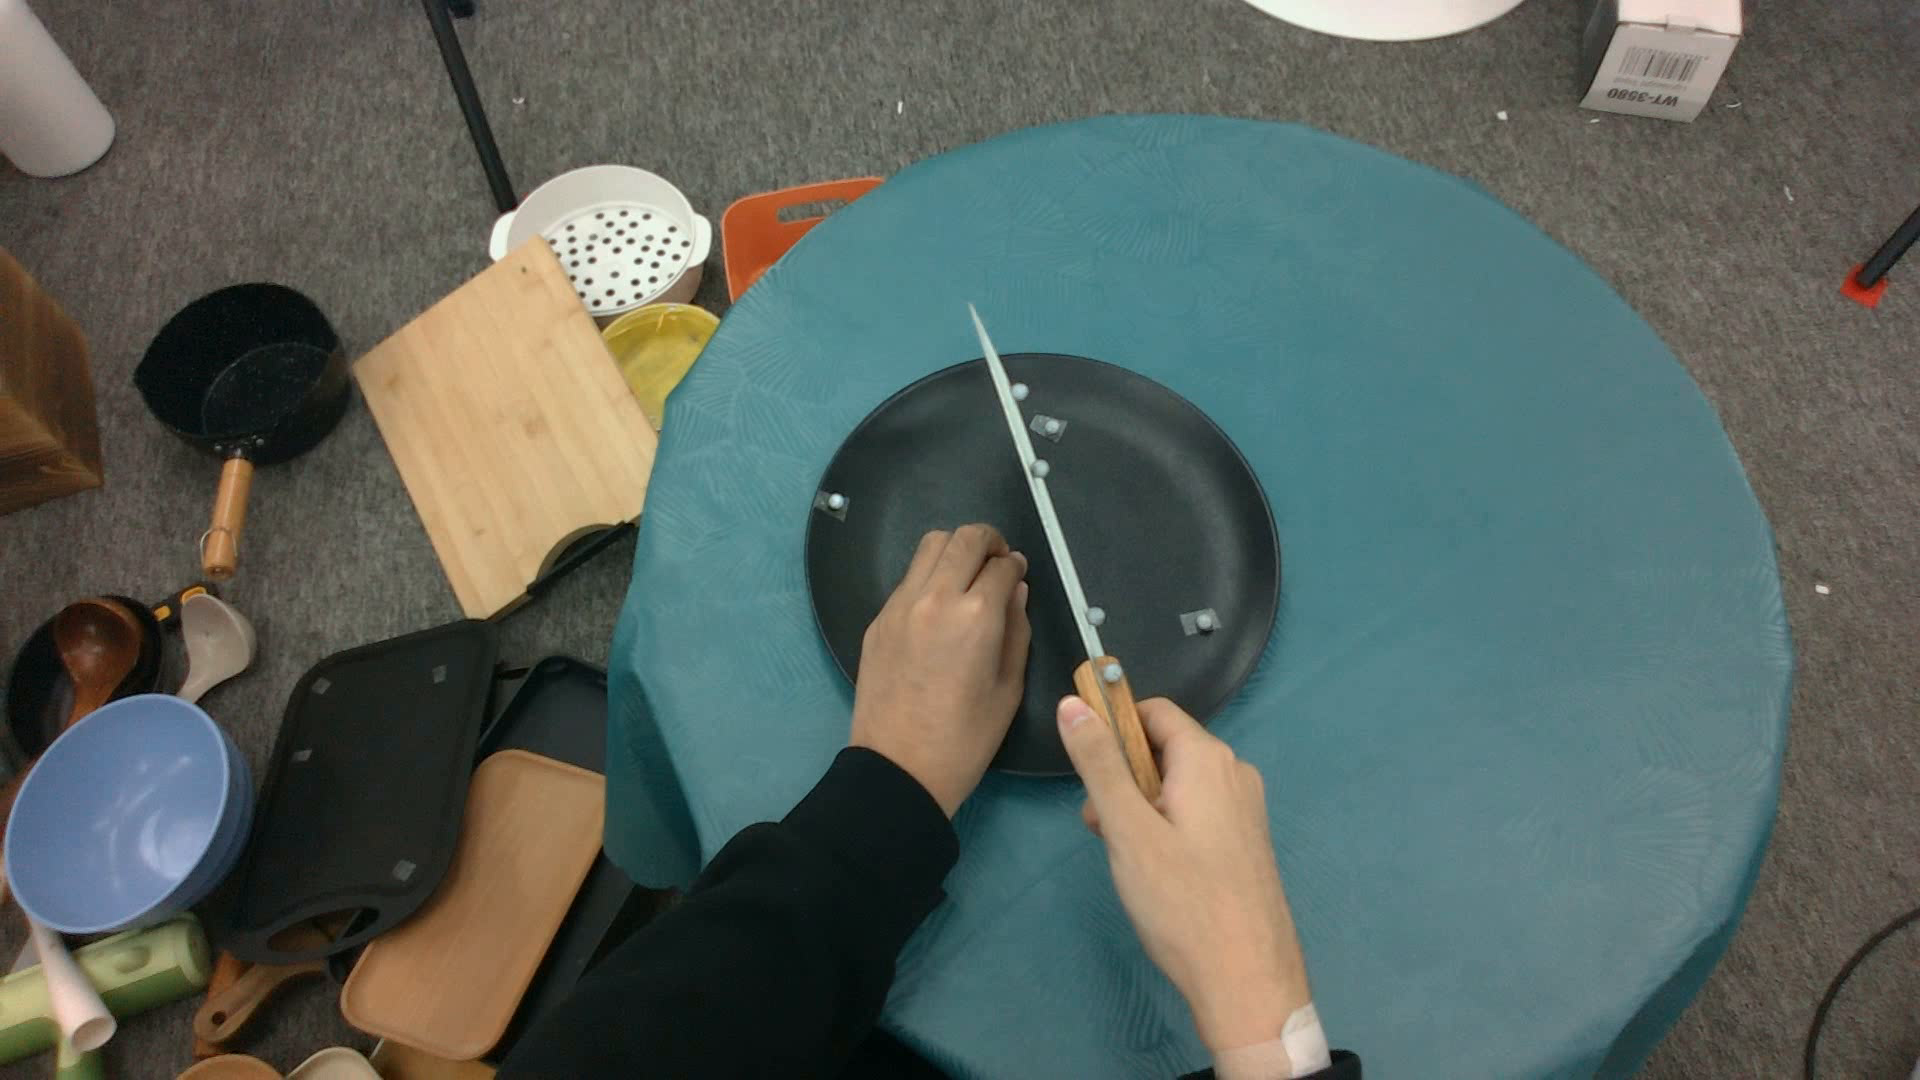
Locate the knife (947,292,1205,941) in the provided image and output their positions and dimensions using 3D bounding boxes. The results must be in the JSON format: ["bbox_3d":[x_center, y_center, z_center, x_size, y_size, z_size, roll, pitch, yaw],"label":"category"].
[{"bbox_3d":[0.048,0.029,0.615,0.021,0.093,0.306,-21,67,5],"label":"knife"}]

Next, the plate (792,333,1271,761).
[{"bbox_3d":[0.036,-0.001,0.706,0.244,0.023,0.245,1,62,-1],"label":"plate"}]
